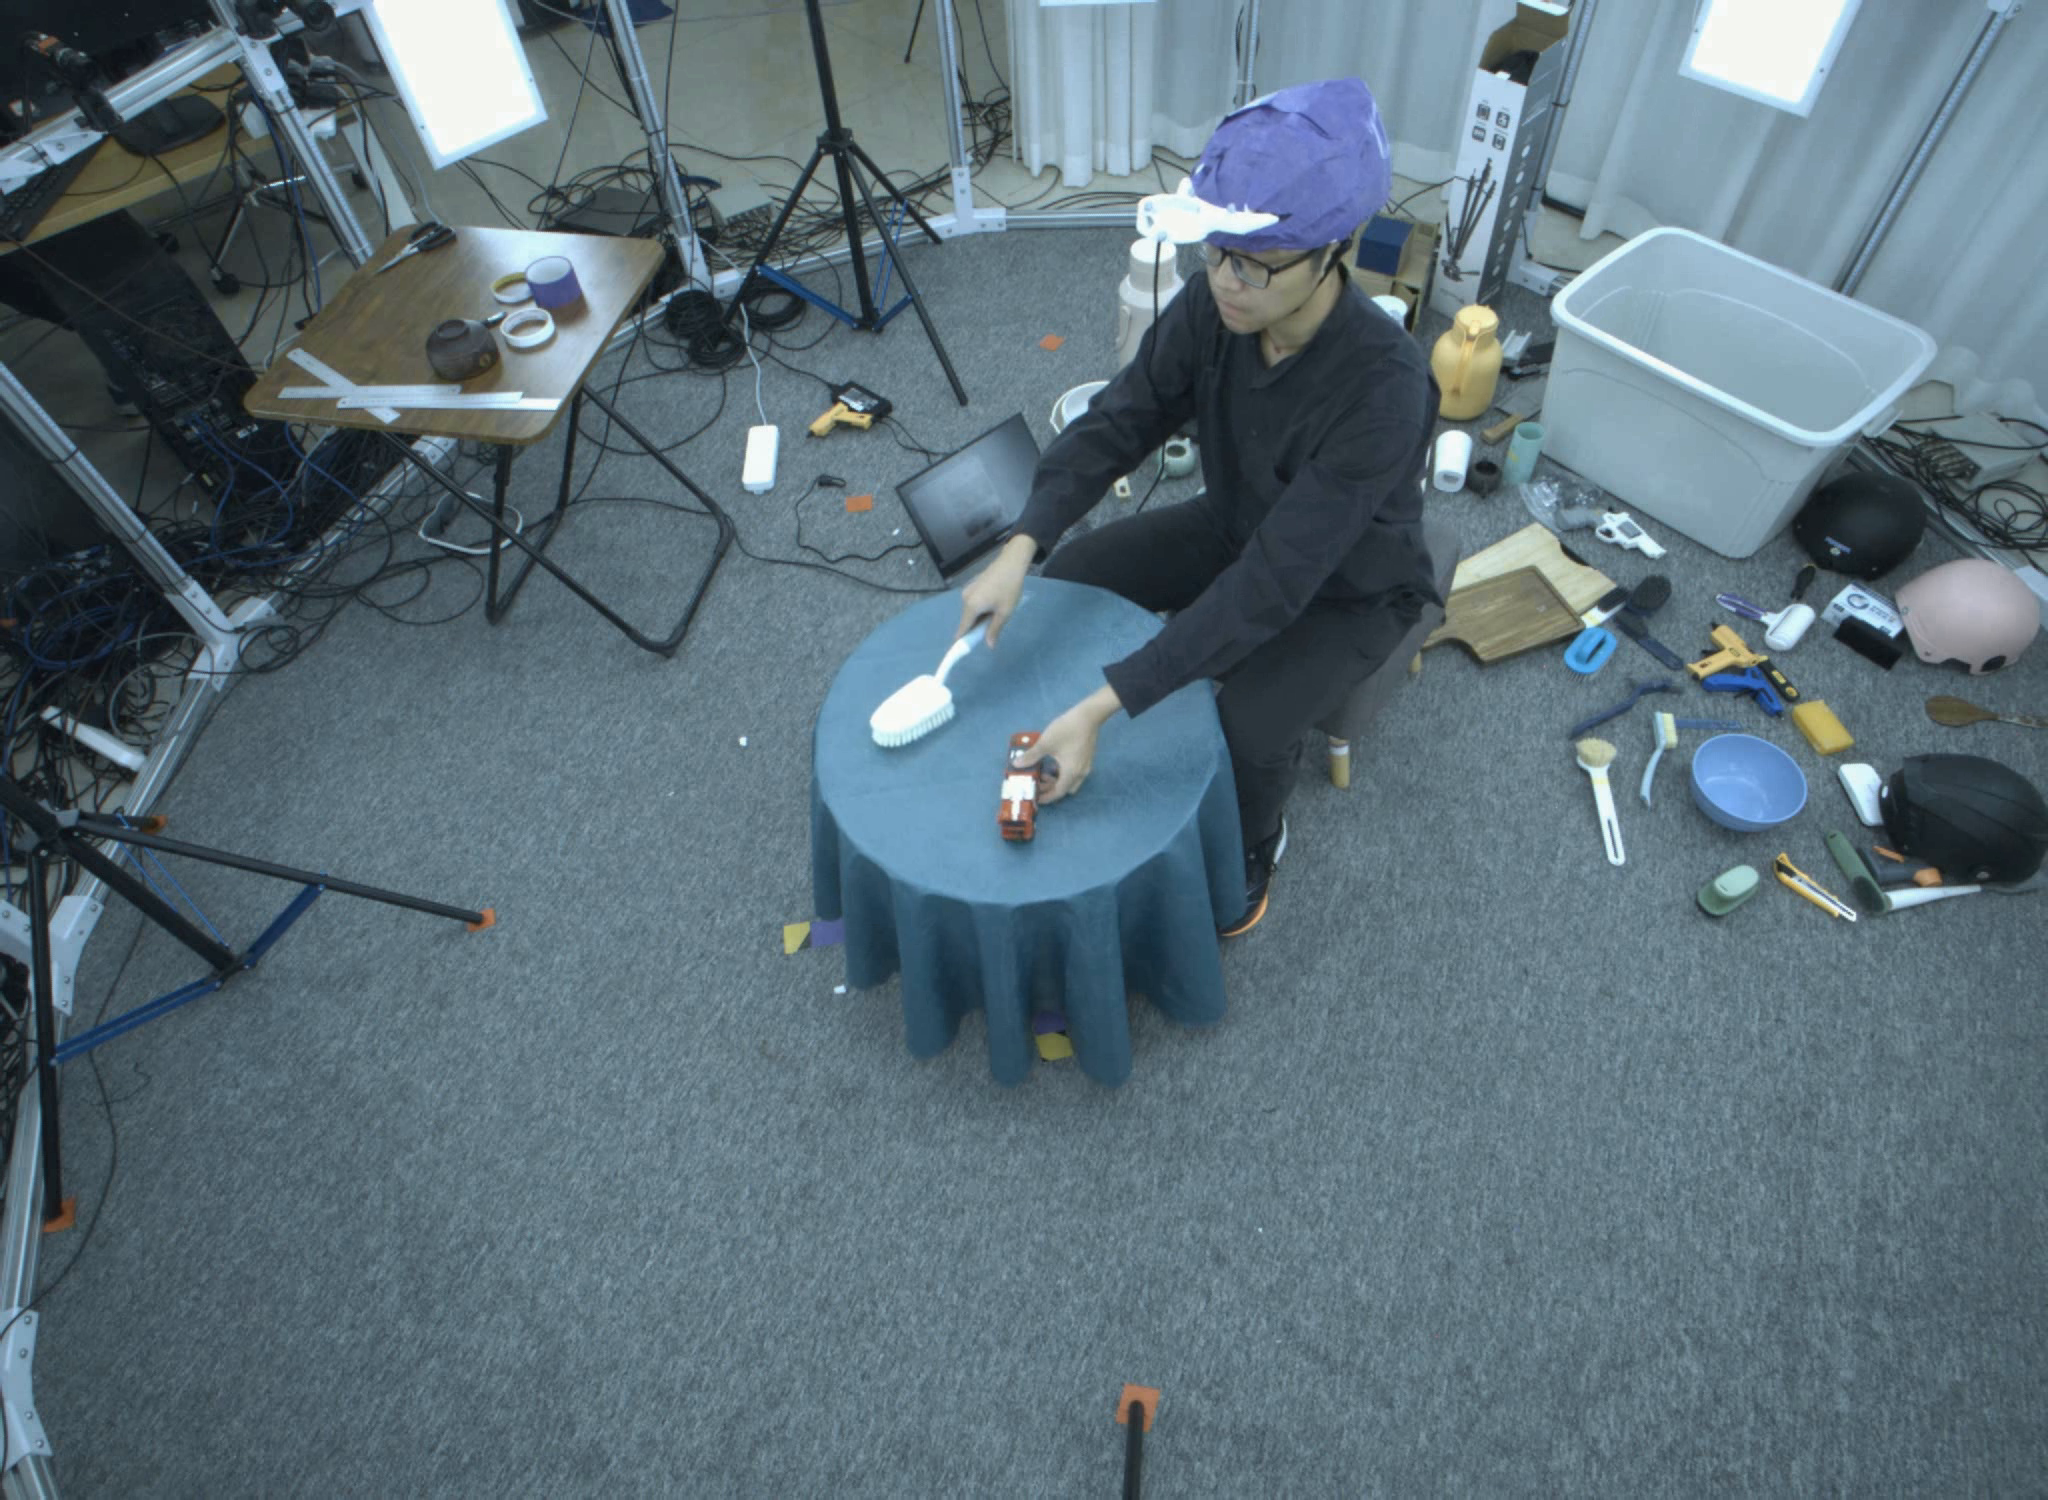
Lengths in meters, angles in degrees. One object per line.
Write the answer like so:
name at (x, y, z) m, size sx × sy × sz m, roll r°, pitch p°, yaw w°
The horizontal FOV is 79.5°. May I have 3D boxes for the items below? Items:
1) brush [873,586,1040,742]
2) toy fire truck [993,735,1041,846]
brush at (-0.091, -0.120, 1.827) m, size 0.327 × 0.083 × 0.084 m, roll -42°, pitch 100°, yaw -14°
toy fire truck at (-0.009, 0.054, 1.709) m, size 0.054 × 0.071 × 0.166 m, roll 1°, pitch 52°, yaw 7°
